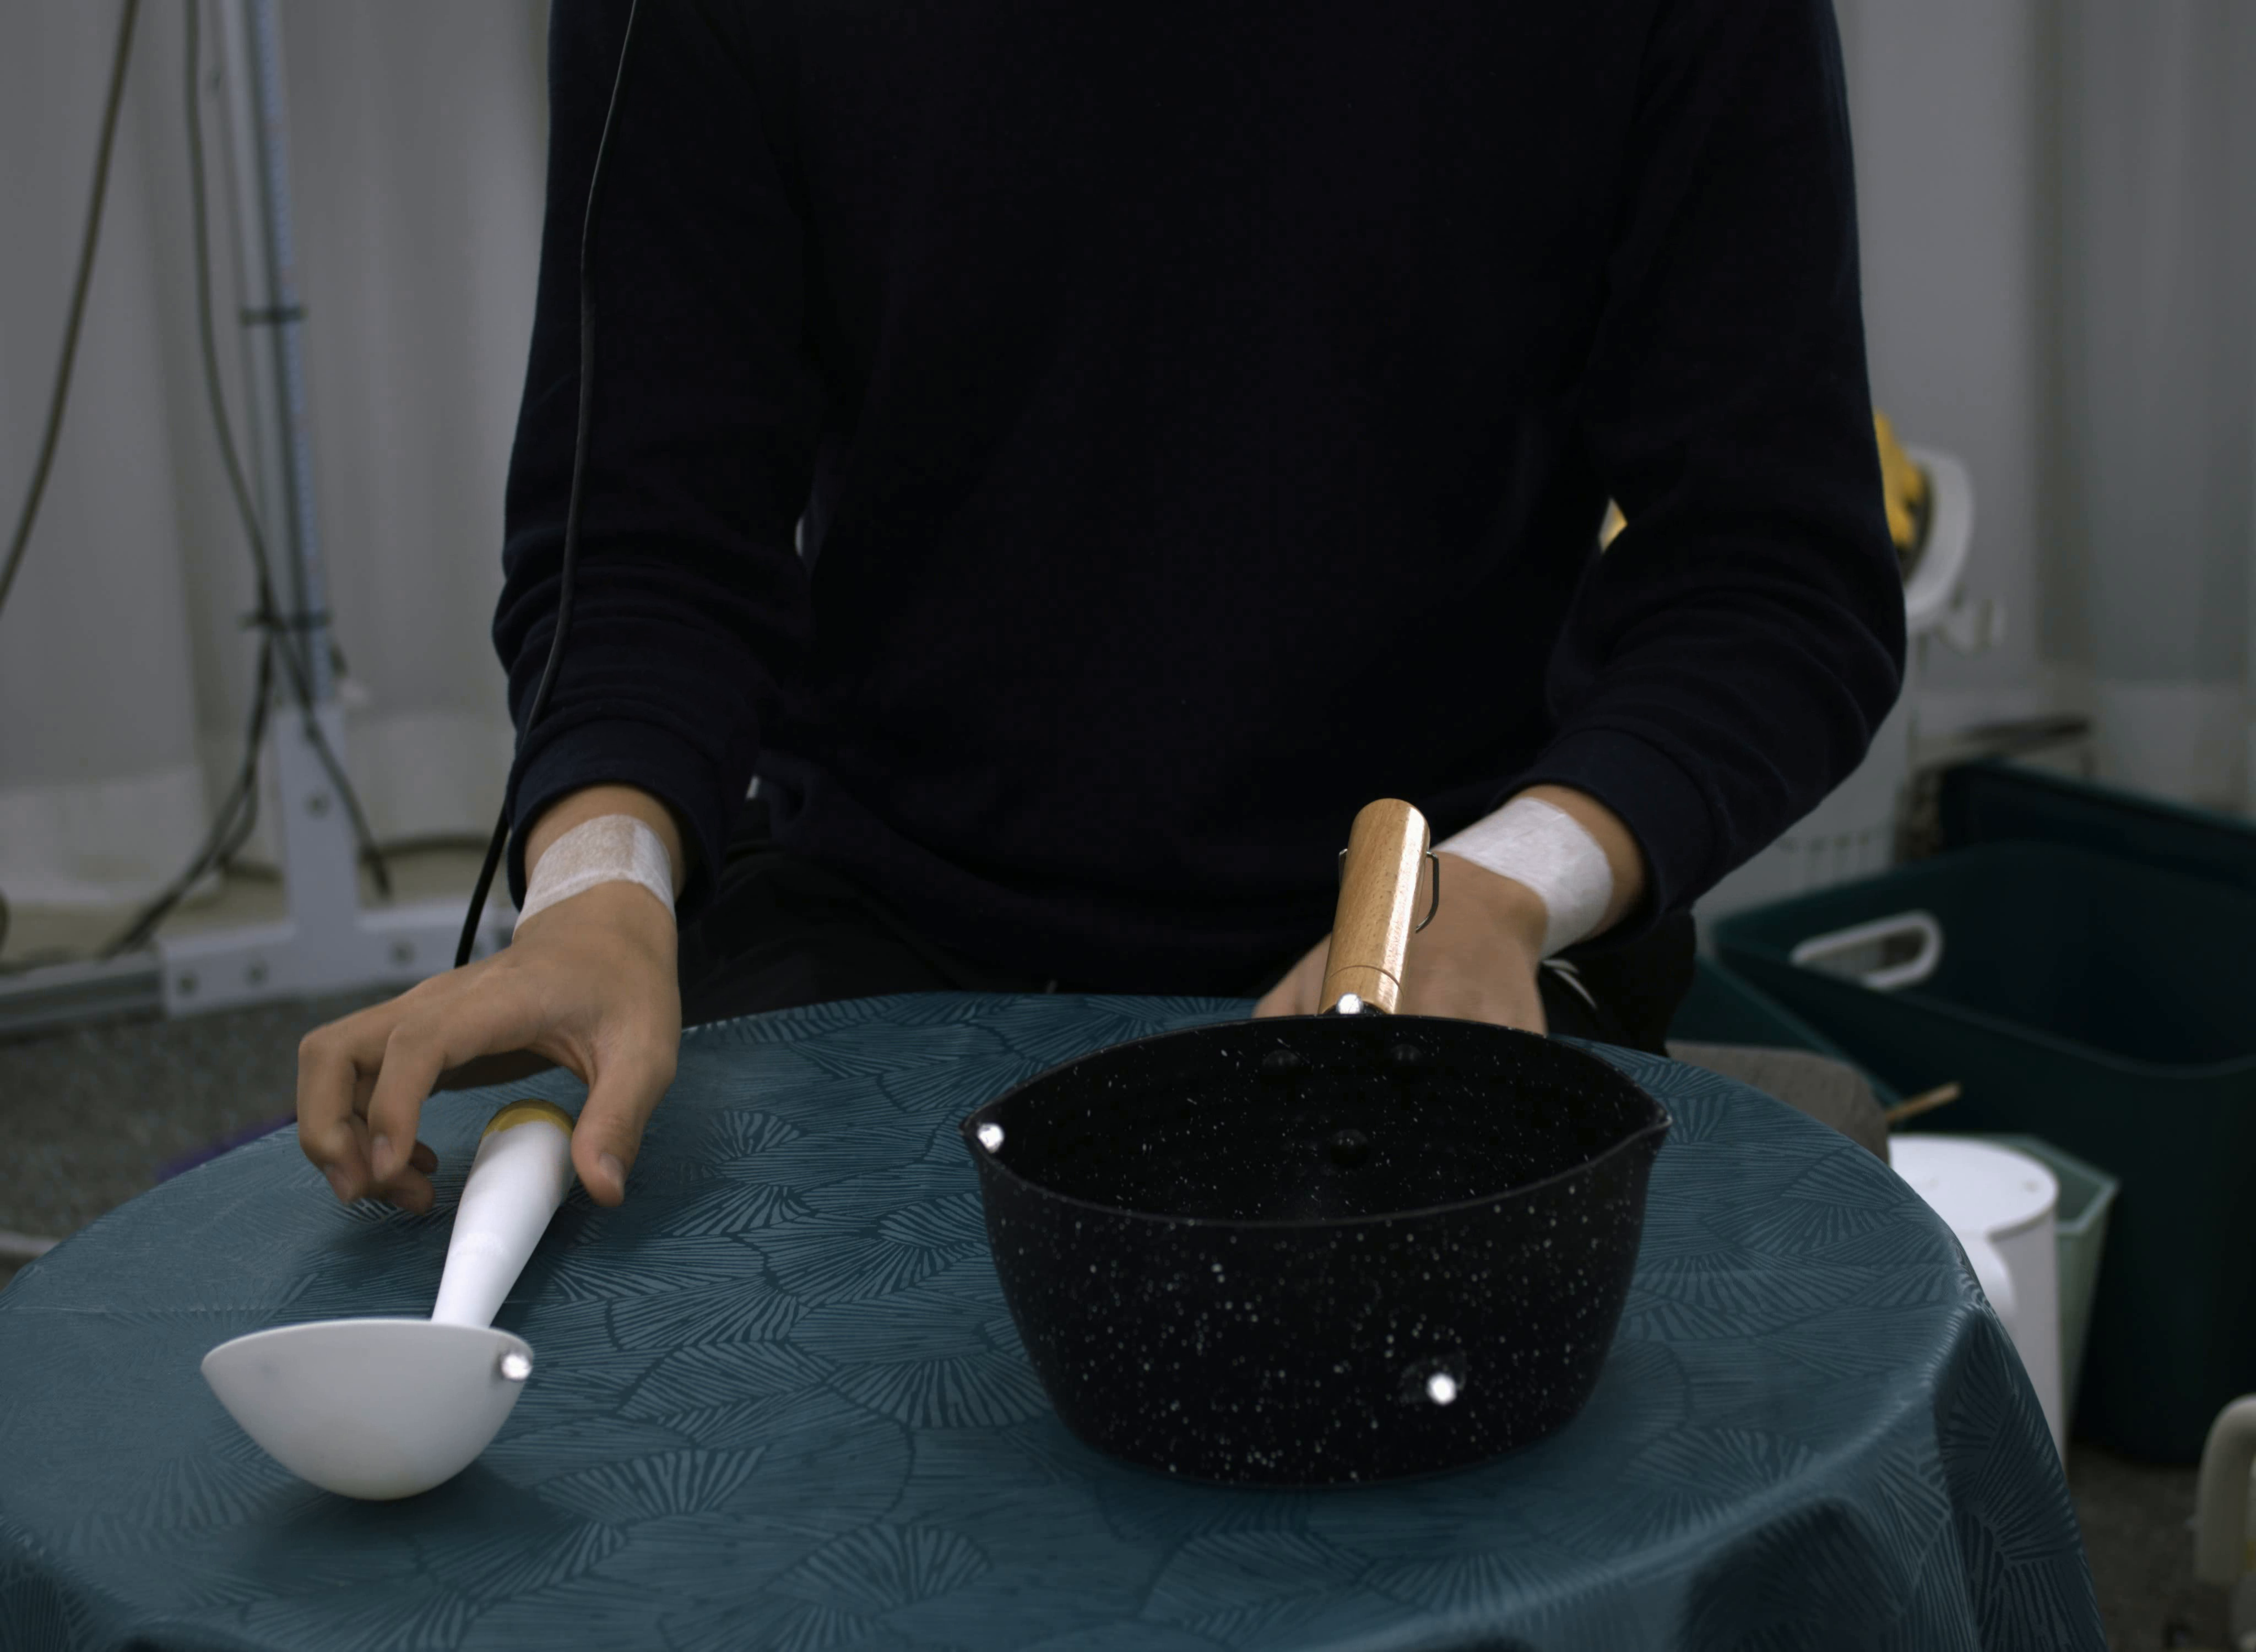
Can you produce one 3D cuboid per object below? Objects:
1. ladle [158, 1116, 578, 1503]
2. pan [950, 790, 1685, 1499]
[{"bbox_3d":[-0.206,0.126,1.594,0.090,0.069,0.295,-14,13,8],"label":"ladle"},{"bbox_3d":[0.062,0.087,1.598,0.207,0.108,0.345,-2,16,8],"label":"pan"}]
